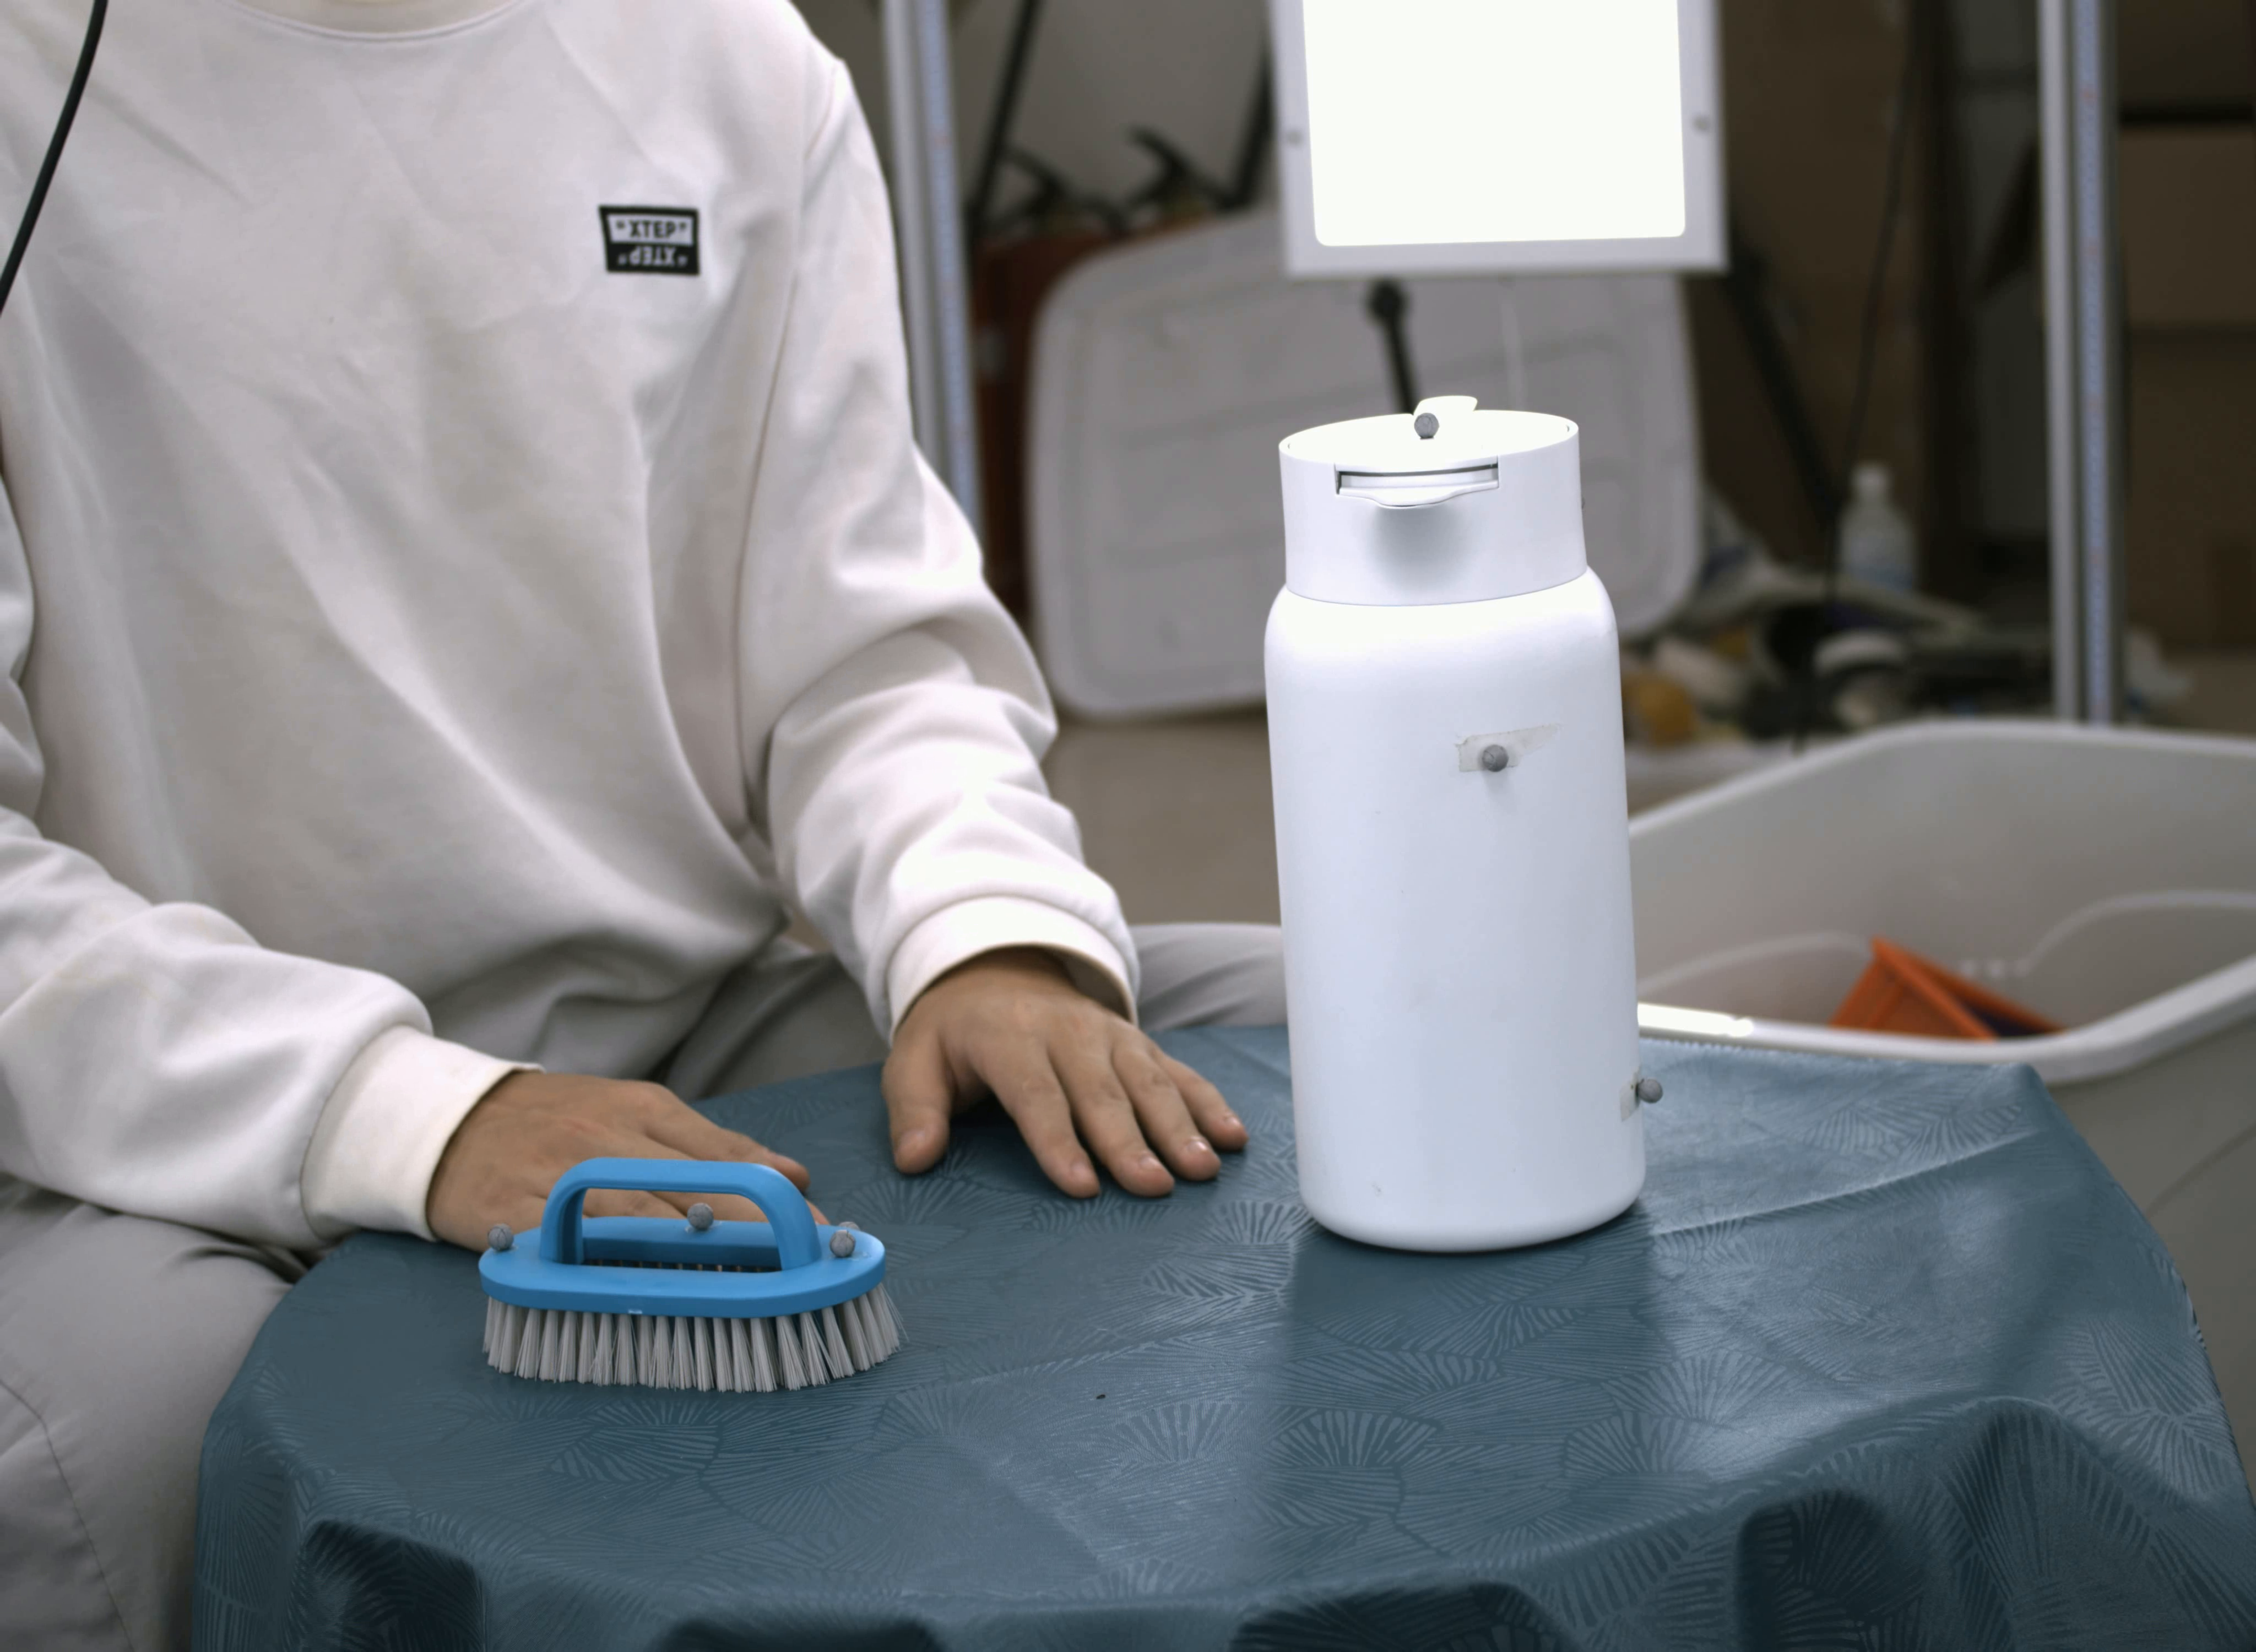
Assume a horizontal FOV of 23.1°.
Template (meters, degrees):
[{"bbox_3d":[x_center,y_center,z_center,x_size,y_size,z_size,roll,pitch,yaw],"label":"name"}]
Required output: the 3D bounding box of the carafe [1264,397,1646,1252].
[{"bbox_3d":[0.109,-0.005,1.835,0.124,0.270,0.171,-4,13,10],"label":"carafe"}]

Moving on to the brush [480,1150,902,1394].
[{"bbox_3d":[-0.144,0.136,1.771,0.144,0.064,0.083,1,20,25],"label":"brush"}]
